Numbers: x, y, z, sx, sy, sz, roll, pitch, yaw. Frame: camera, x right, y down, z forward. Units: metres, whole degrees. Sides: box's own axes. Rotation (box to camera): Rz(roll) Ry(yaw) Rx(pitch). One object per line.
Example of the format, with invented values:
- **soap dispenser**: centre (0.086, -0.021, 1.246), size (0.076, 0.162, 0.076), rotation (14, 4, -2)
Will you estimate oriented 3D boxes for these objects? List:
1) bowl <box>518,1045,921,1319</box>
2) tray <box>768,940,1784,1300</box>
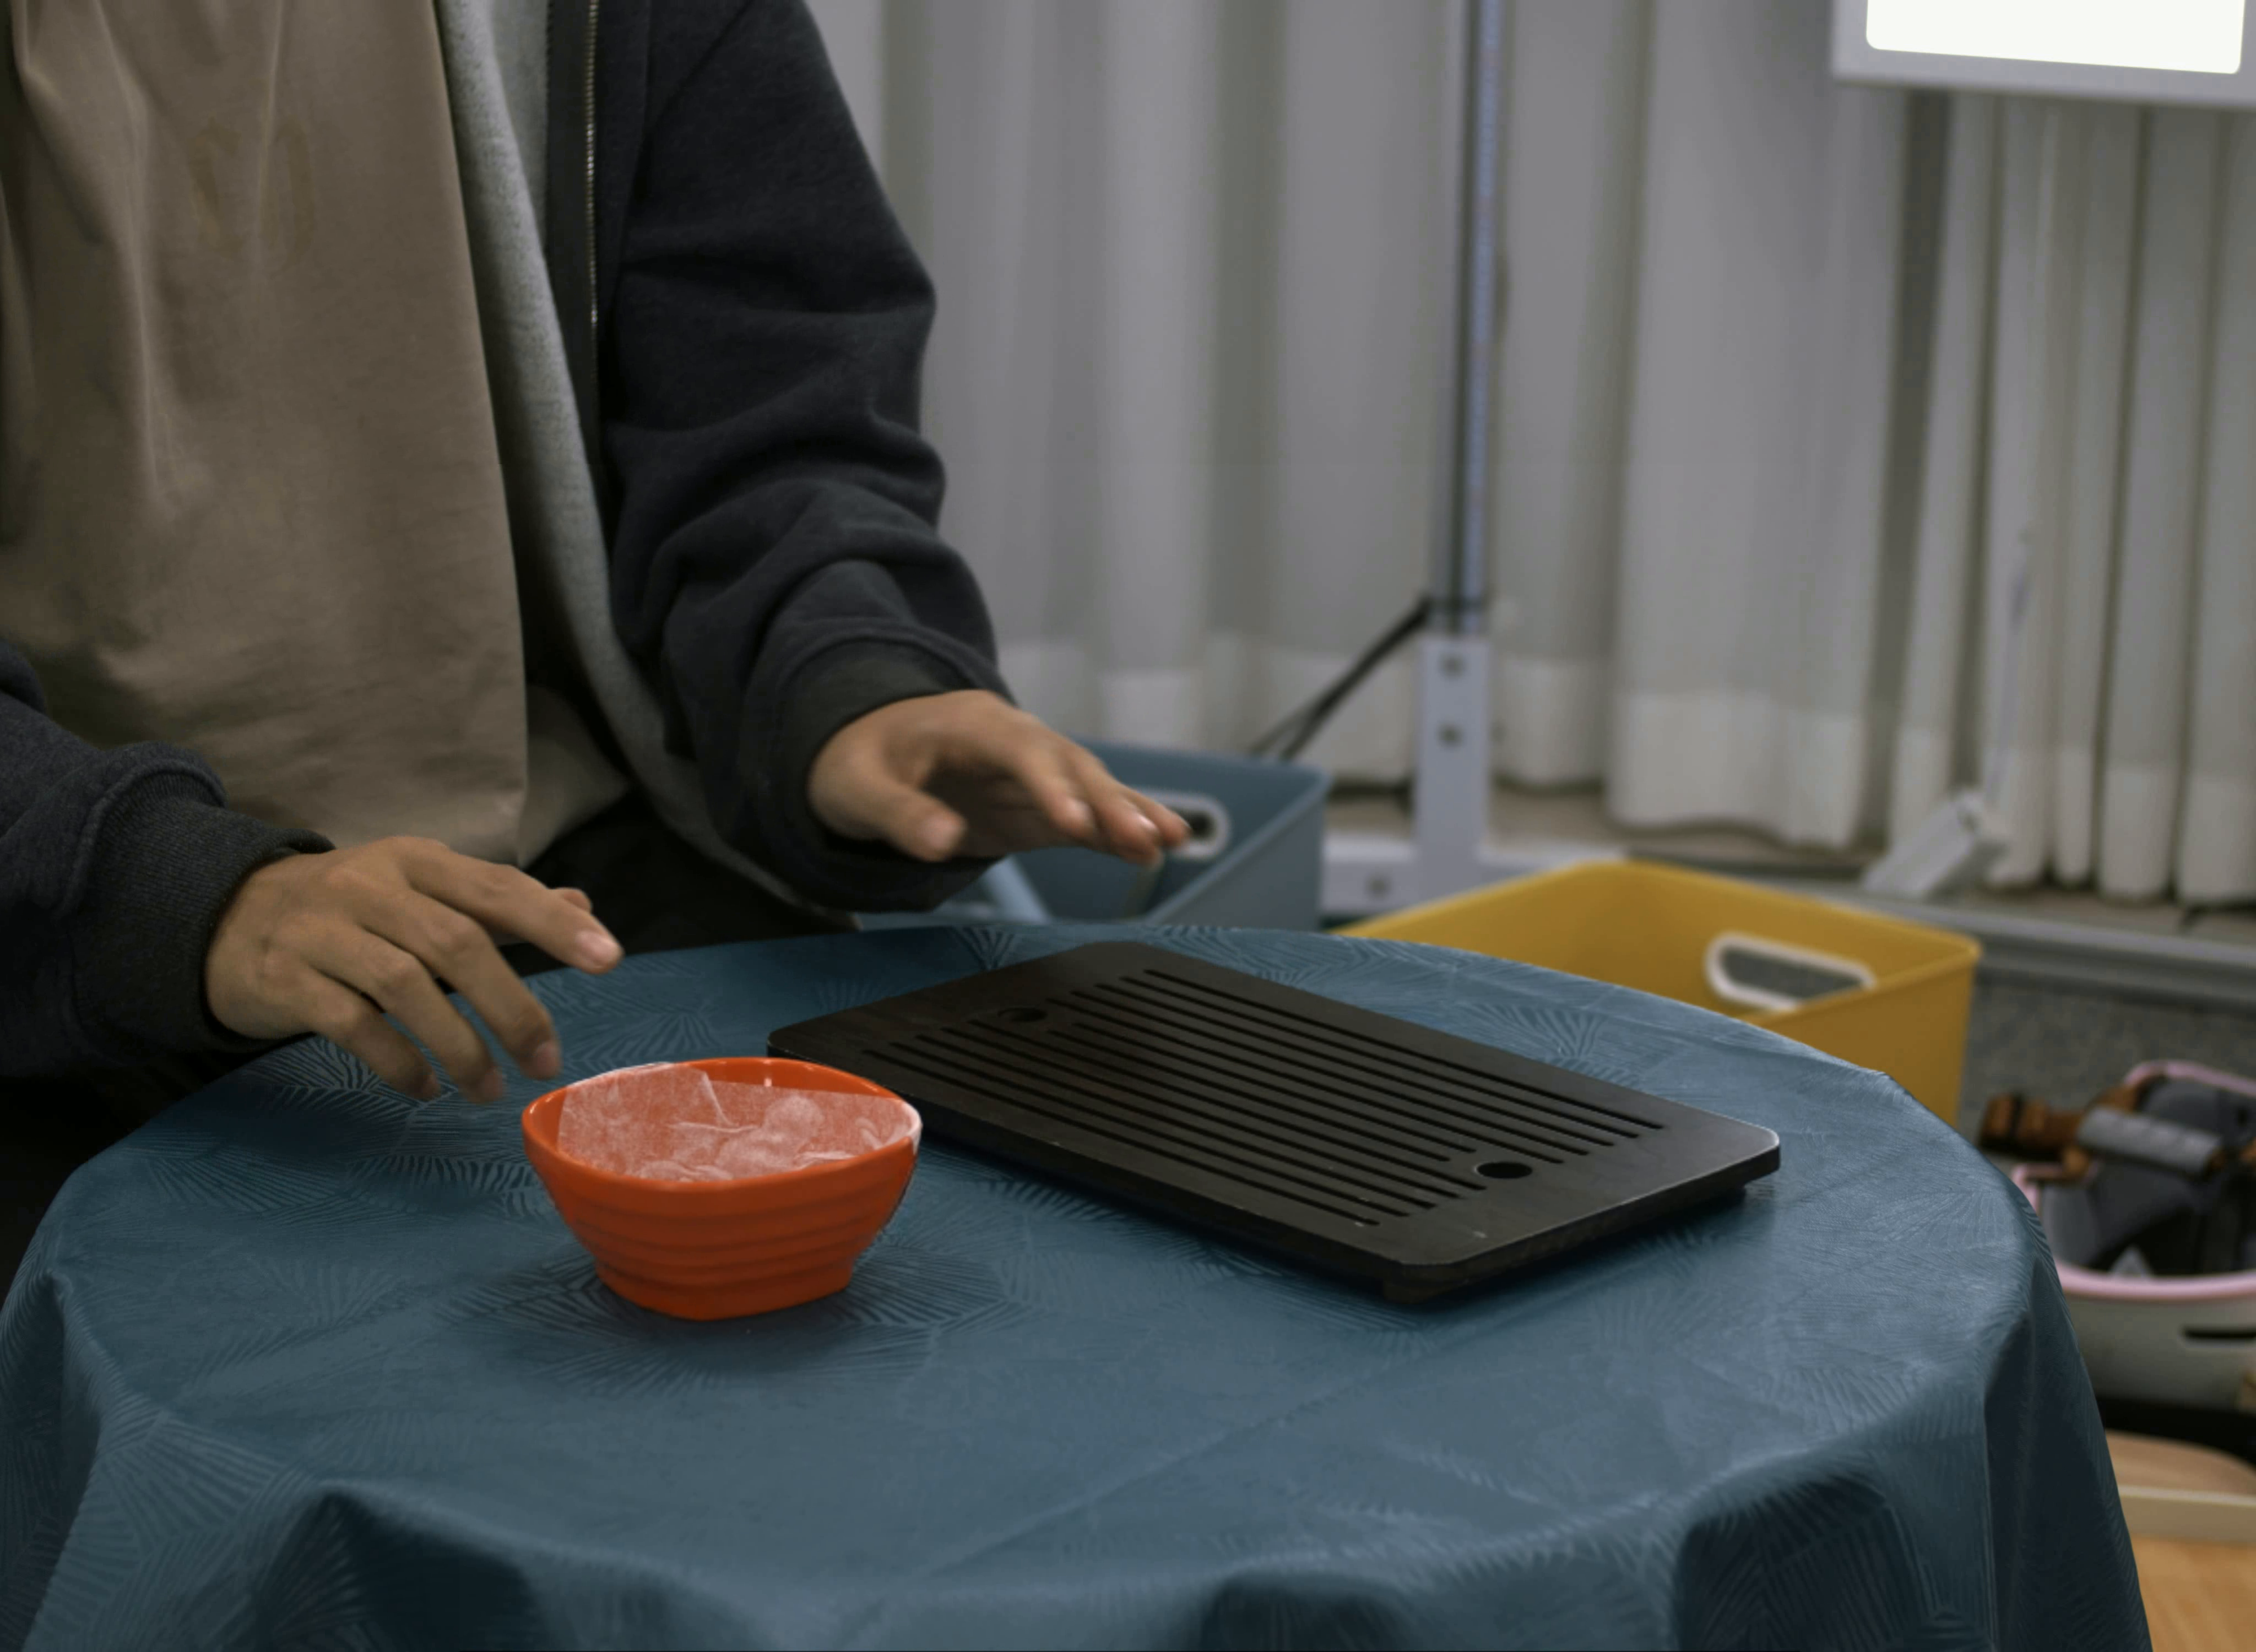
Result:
- **bowl**: centre (-0.119, 0.106, 1.538), size (0.118, 0.052, 0.118), rotation (1, 17, 0)
- **tray**: centre (0.042, 0.090, 1.672), size (0.171, 0.019, 0.302), rotation (-14, 21, -43)
